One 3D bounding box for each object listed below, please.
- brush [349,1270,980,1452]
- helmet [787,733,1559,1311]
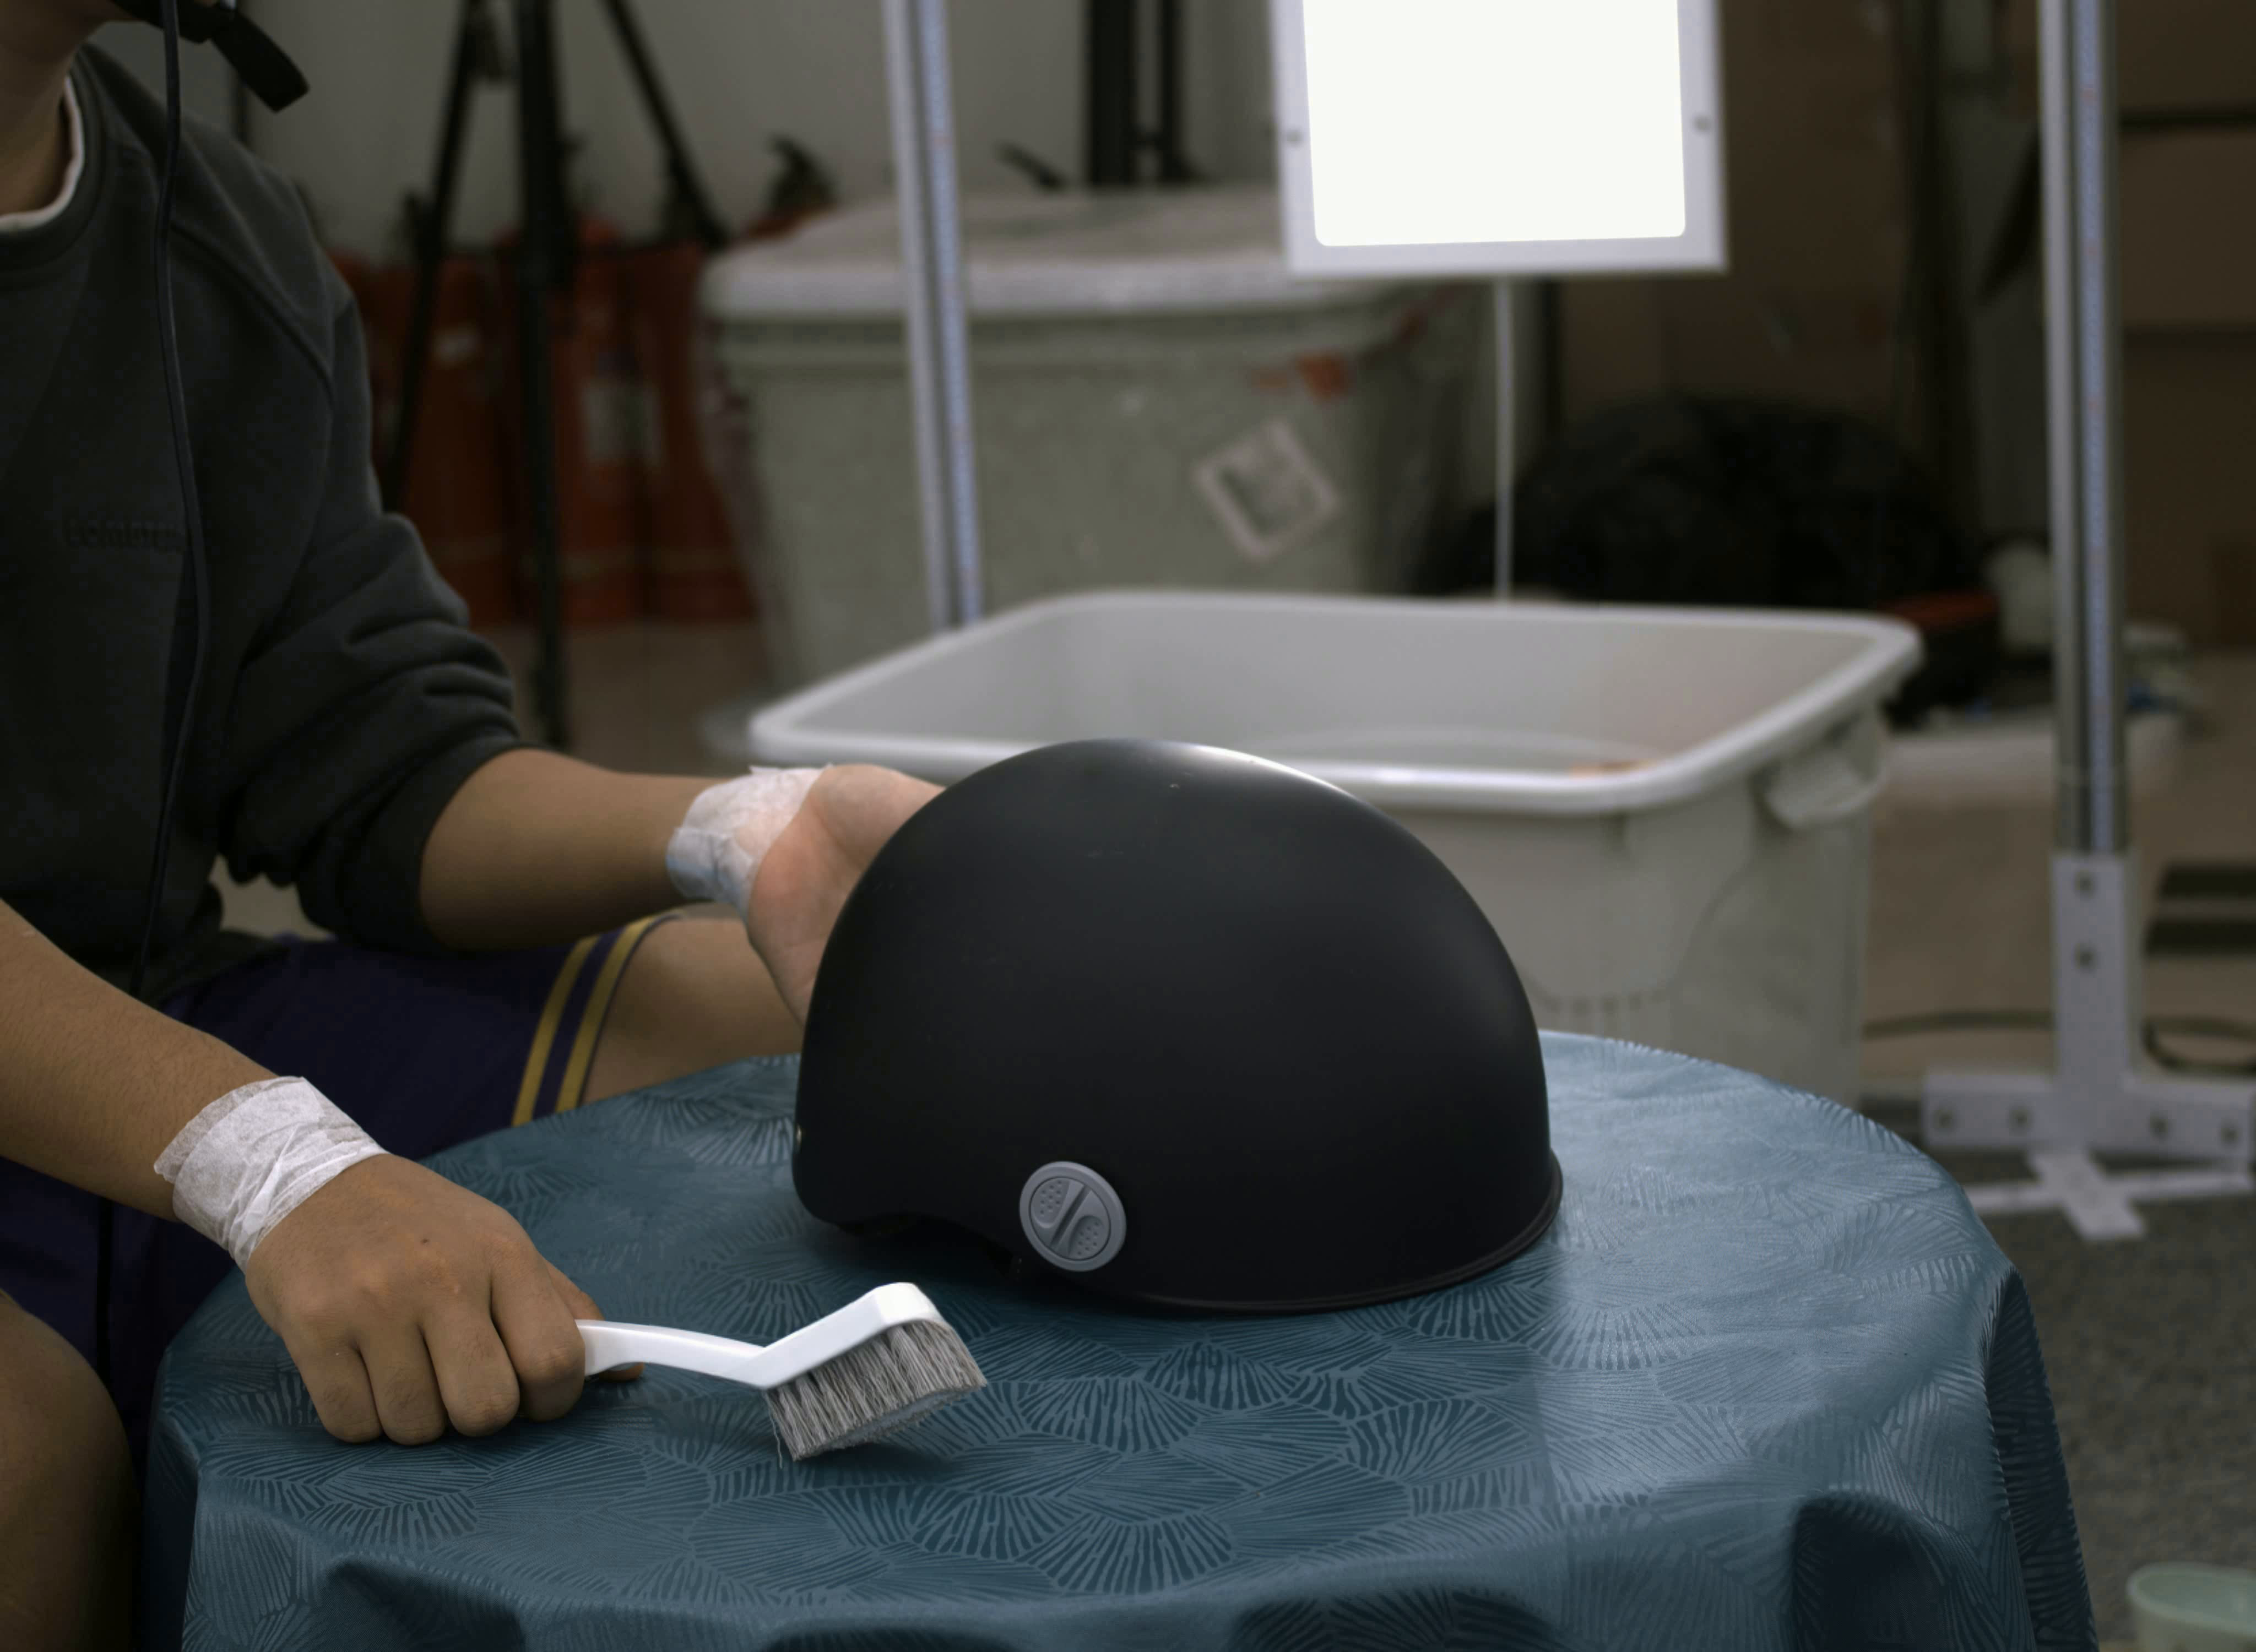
[{"bbox_3d":[-0.148,0.174,1.711,0.249,0.050,0.033,-11,-6,37],"label":"brush"},{"bbox_3d":[0.011,0.056,1.849,0.279,0.167,0.224,9,24,40],"label":"helmet"}]
